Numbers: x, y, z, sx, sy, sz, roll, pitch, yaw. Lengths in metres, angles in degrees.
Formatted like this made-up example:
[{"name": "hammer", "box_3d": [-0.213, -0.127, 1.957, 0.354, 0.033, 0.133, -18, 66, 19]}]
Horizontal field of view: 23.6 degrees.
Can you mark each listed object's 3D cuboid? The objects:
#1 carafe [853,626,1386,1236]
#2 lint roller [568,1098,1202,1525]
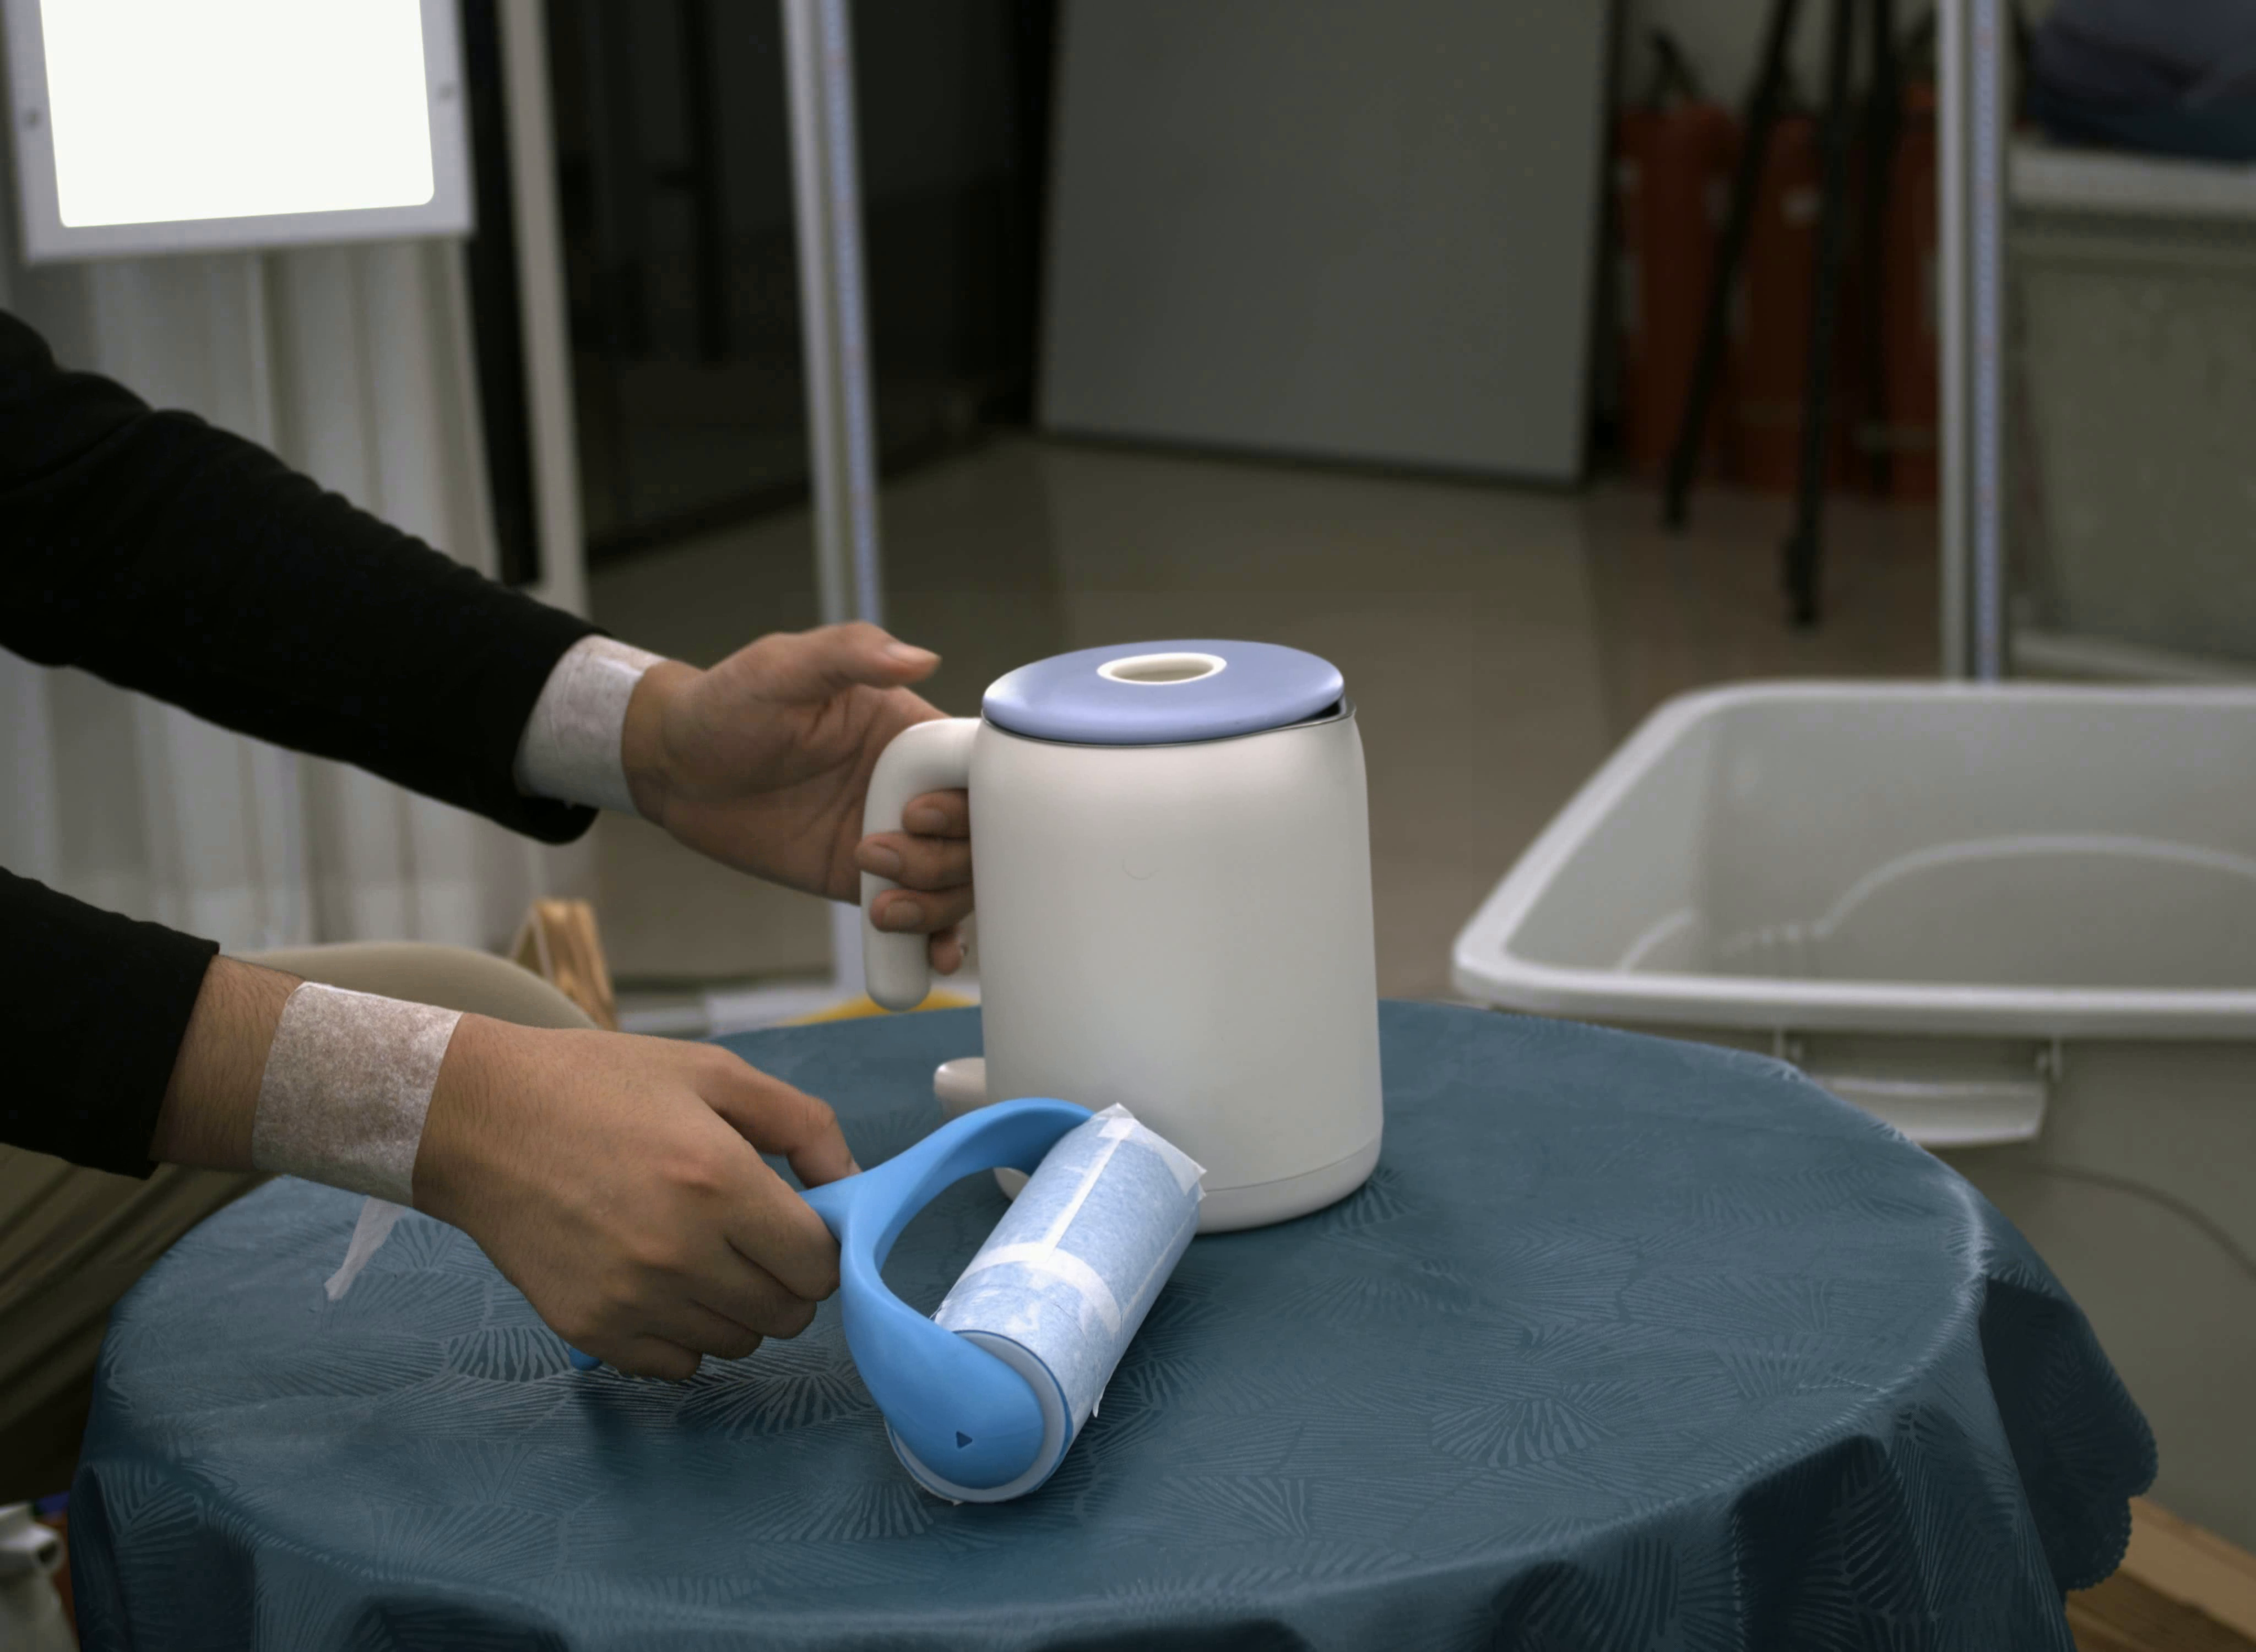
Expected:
[{"name": "carafe", "box_3d": [-0.006, 0.033, 1.768, 0.191, 0.184, 0.130, 1, 13, 28]}, {"name": "lint roller", "box_3d": [-0.080, 0.137, 1.601, 0.179, 0.068, 0.228, 5, 18, 10]}]
